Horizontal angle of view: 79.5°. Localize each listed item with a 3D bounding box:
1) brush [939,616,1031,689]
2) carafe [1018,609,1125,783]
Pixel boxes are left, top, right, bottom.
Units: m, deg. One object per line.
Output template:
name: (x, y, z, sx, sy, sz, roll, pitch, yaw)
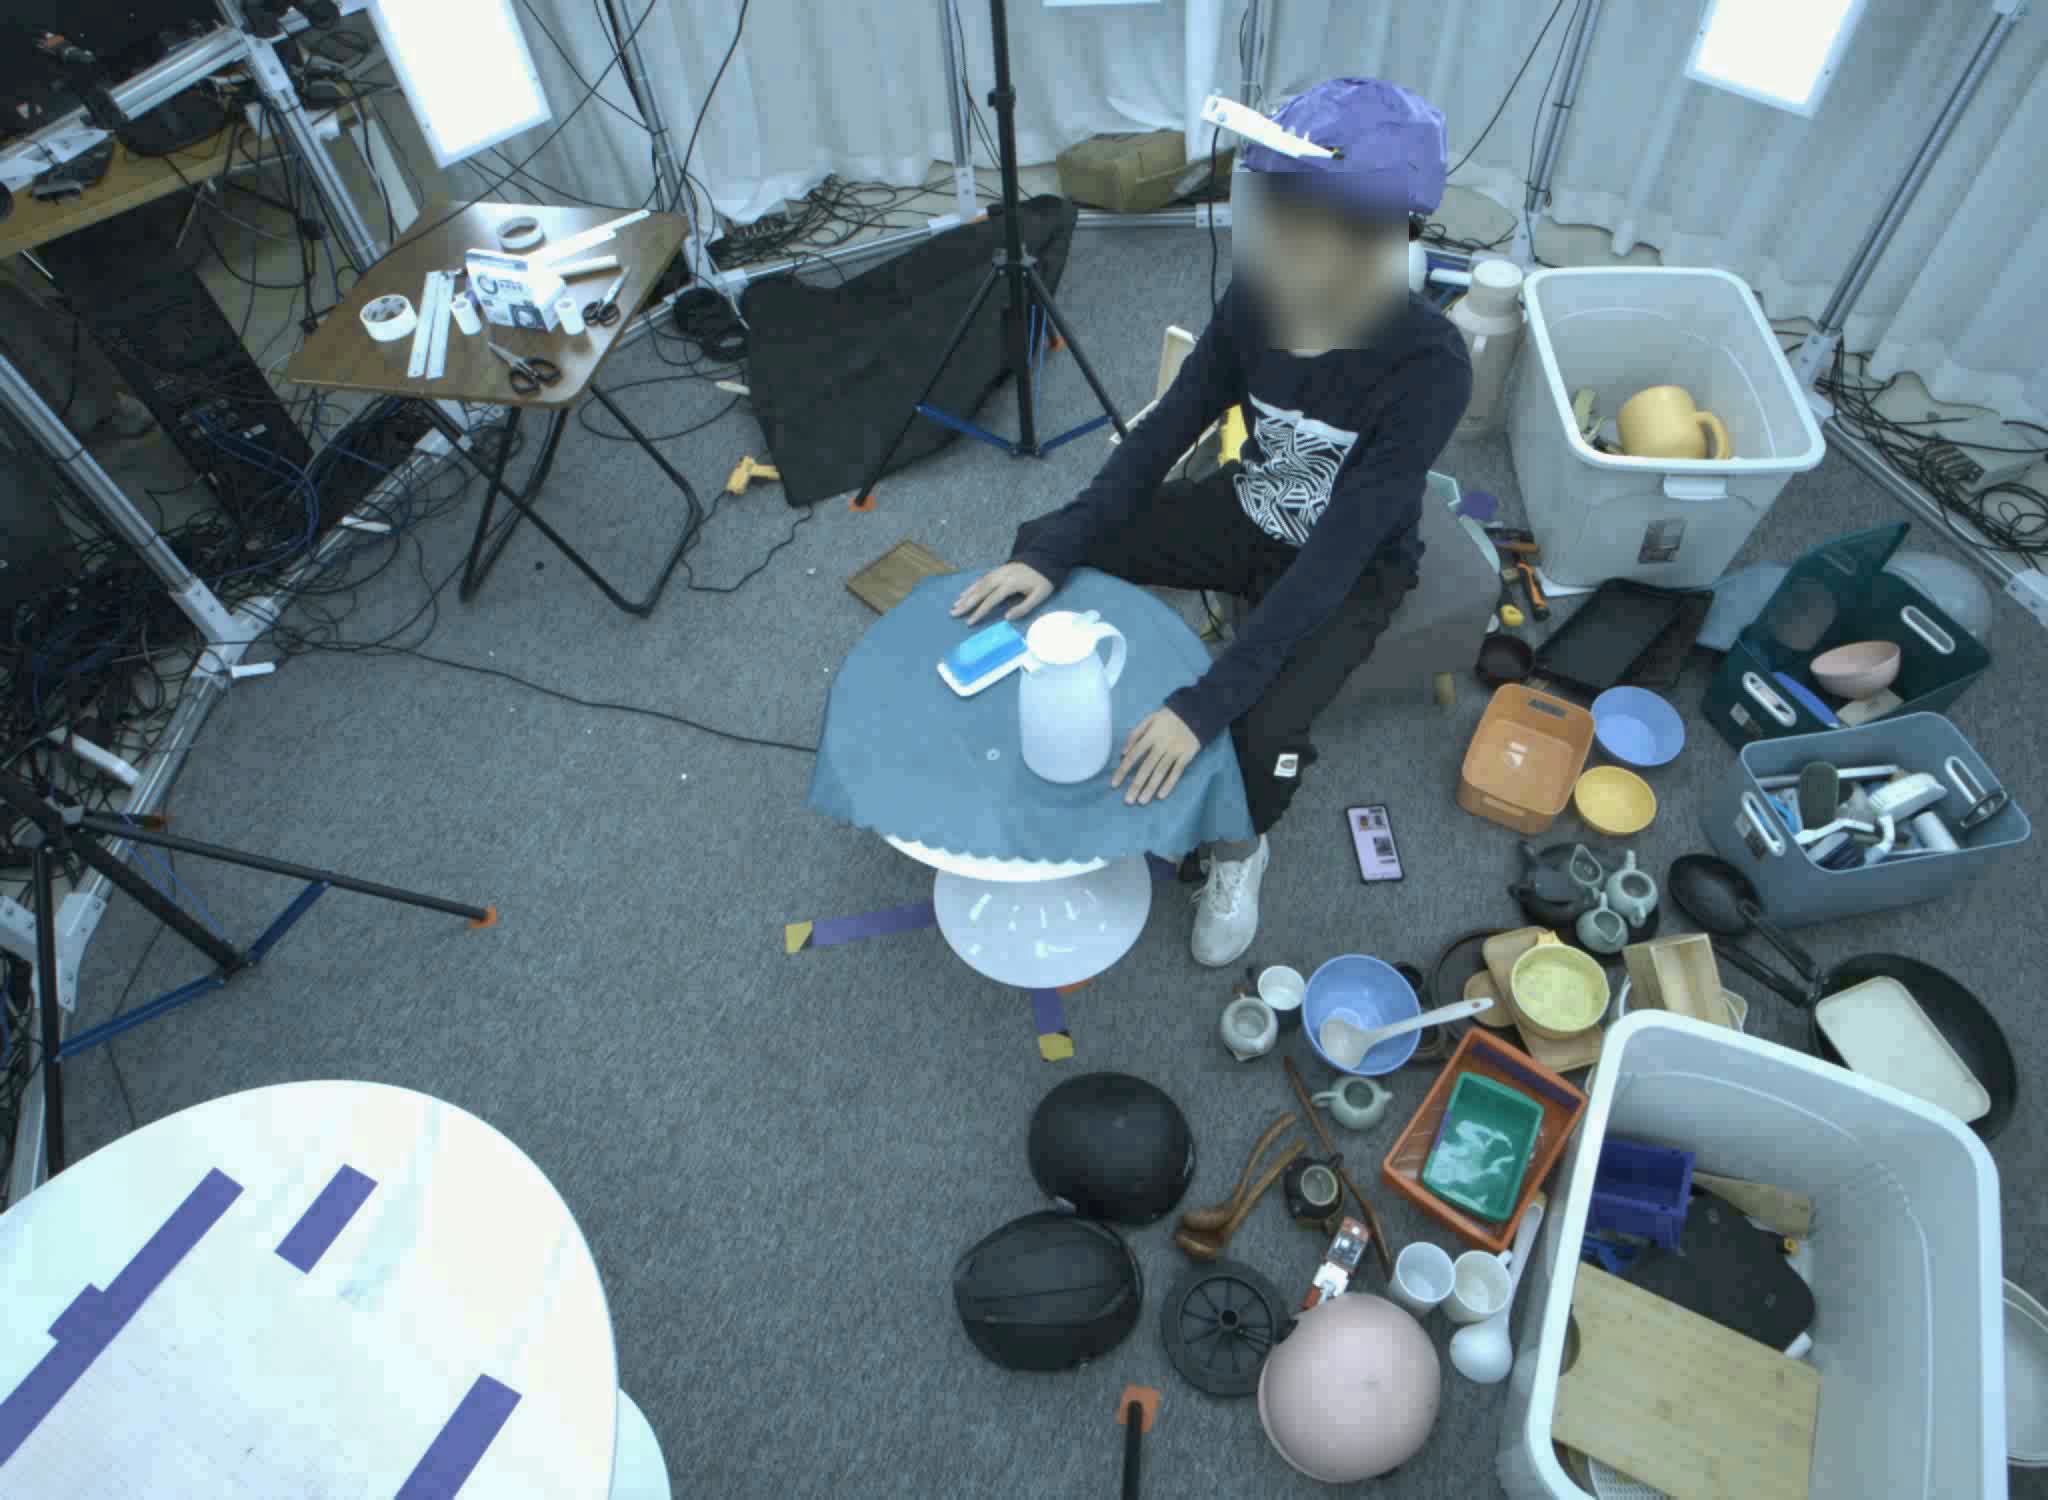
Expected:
brush: (-0.055, -0.155, 1.855, 0.145, 0.056, 0.082, -31, 62, -16)
carafe: (0.068, -0.089, 1.687, 0.169, 0.251, 0.130, -35, 59, -21)
